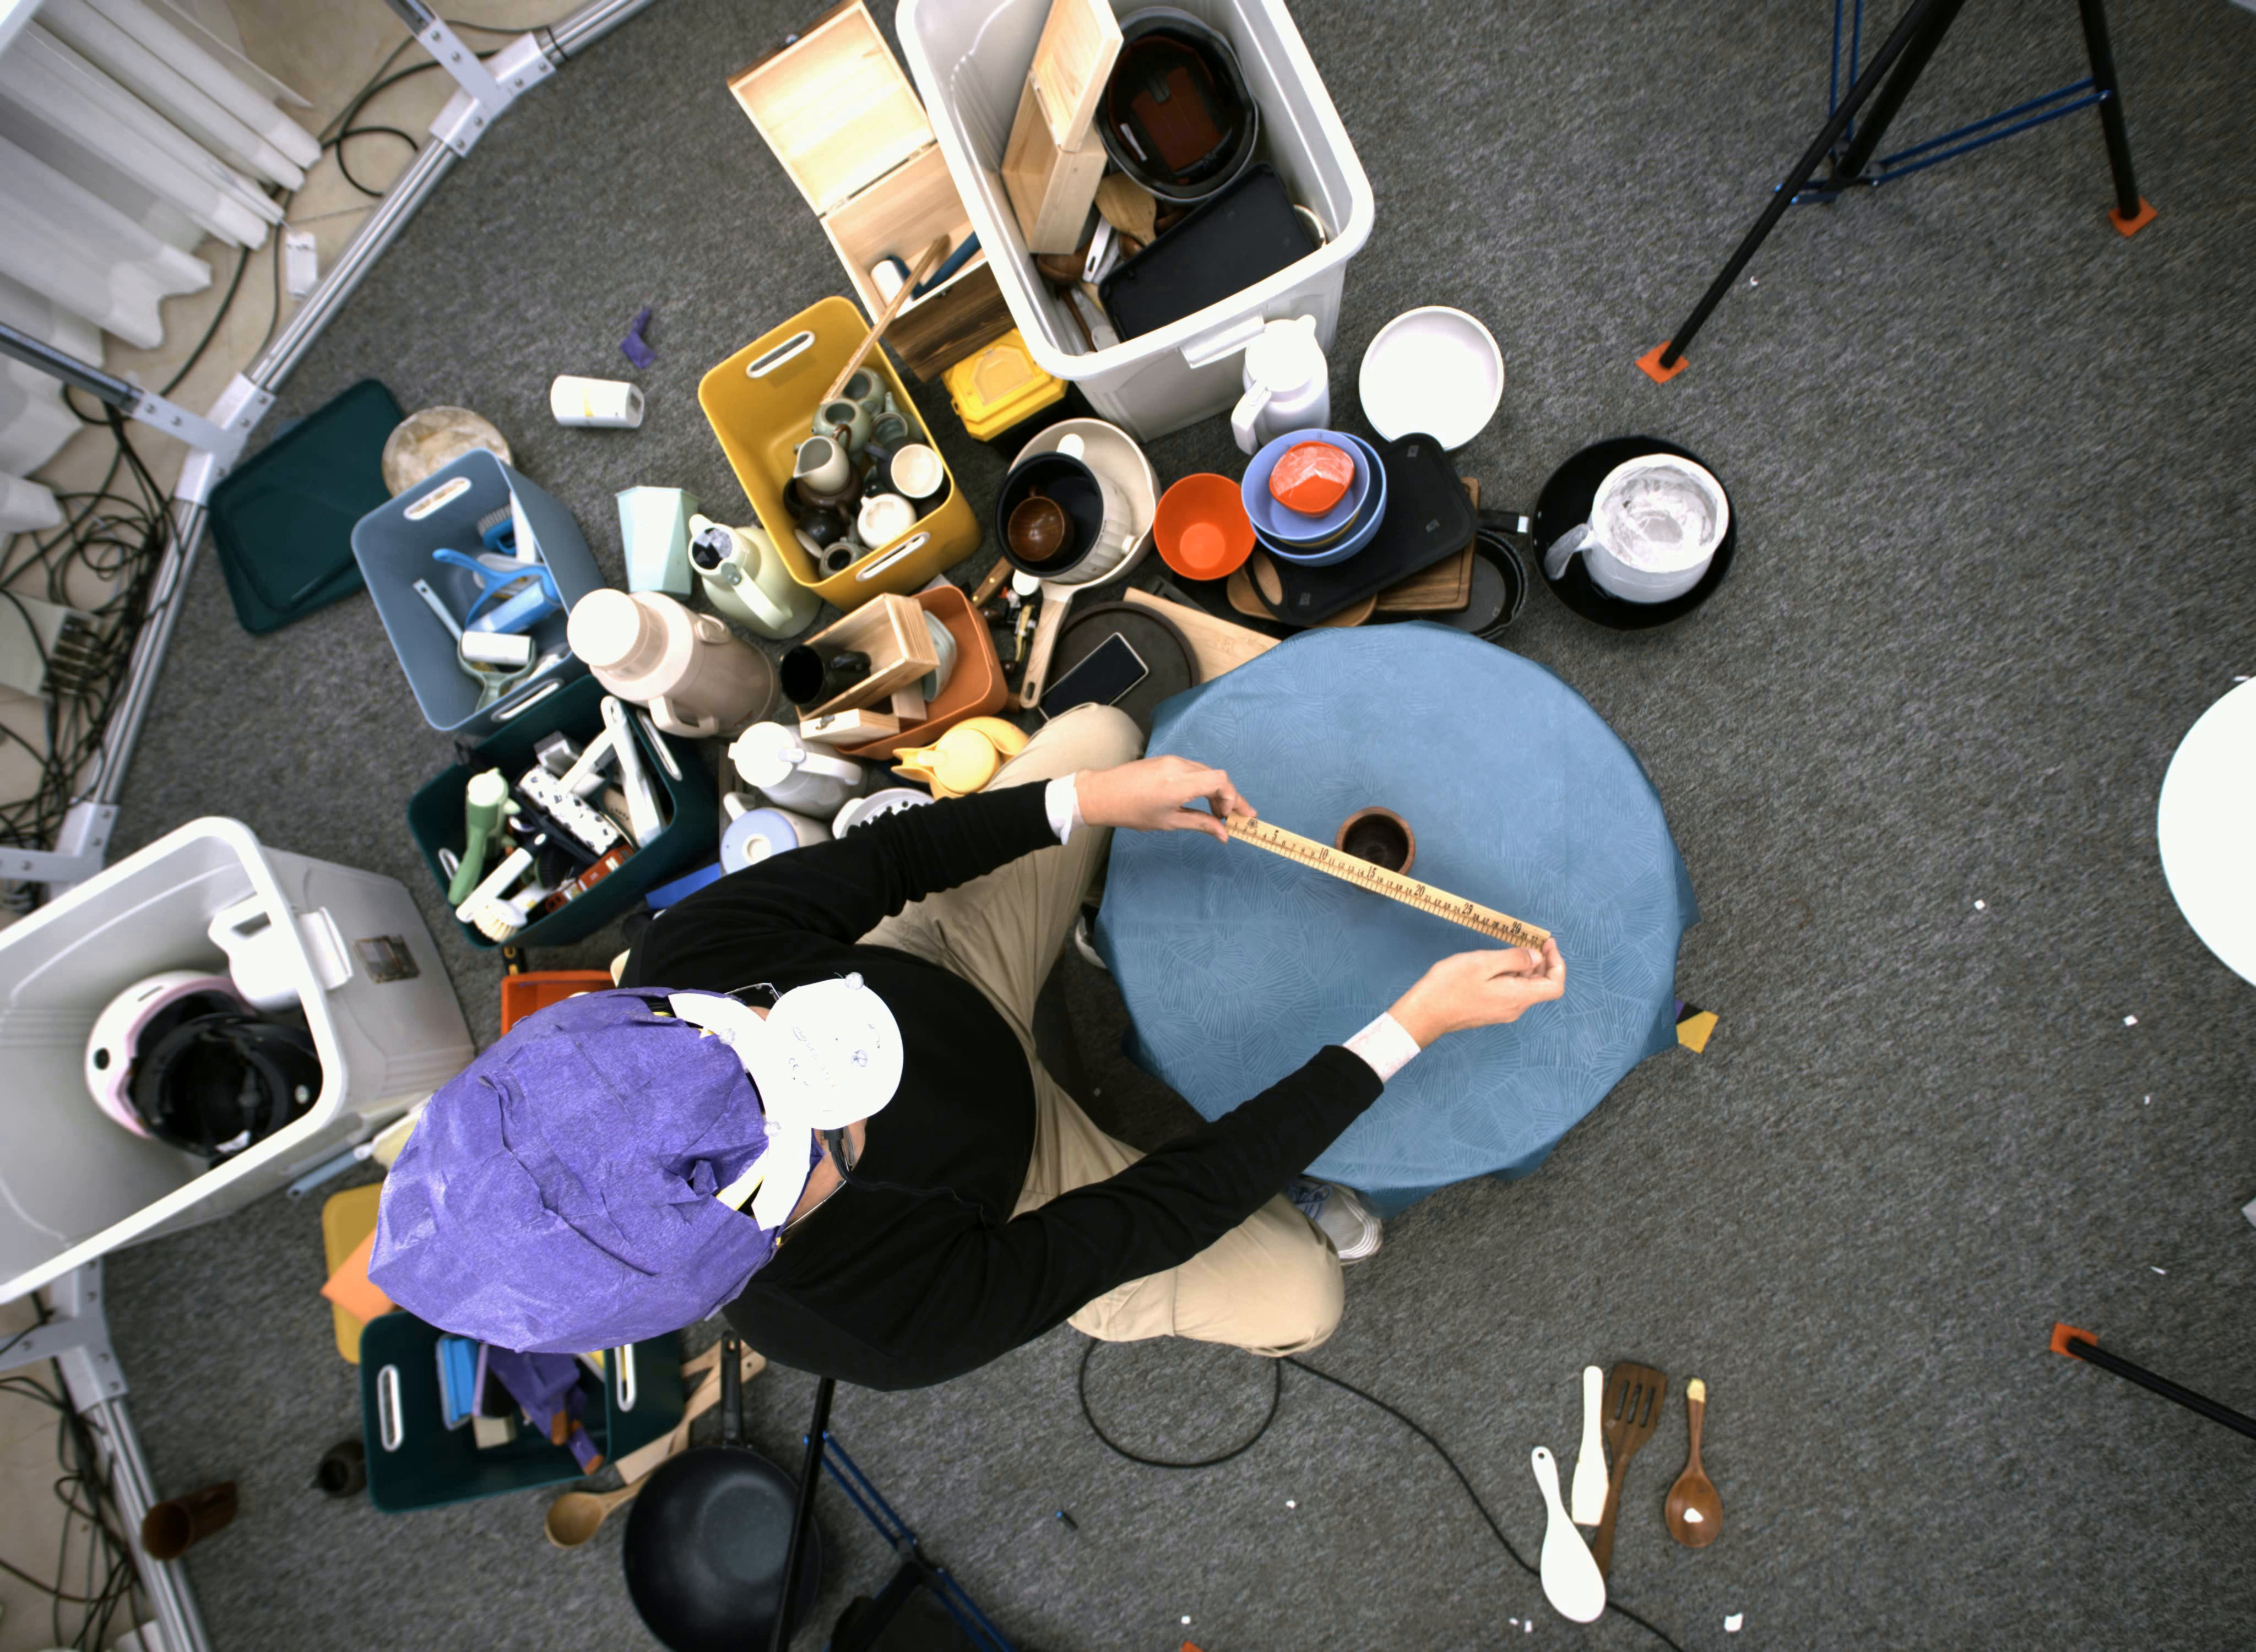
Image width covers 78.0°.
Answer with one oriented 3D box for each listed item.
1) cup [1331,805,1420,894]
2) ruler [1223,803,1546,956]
[{"bbox_3d":[0.254,0.025,1.407,0.088,0.118,0.087,-1,84,11],"label":"cup"},{"bbox_3d":[0.250,0.051,1.347,0.332,0.022,0.027,22,90,4],"label":"ruler"}]
